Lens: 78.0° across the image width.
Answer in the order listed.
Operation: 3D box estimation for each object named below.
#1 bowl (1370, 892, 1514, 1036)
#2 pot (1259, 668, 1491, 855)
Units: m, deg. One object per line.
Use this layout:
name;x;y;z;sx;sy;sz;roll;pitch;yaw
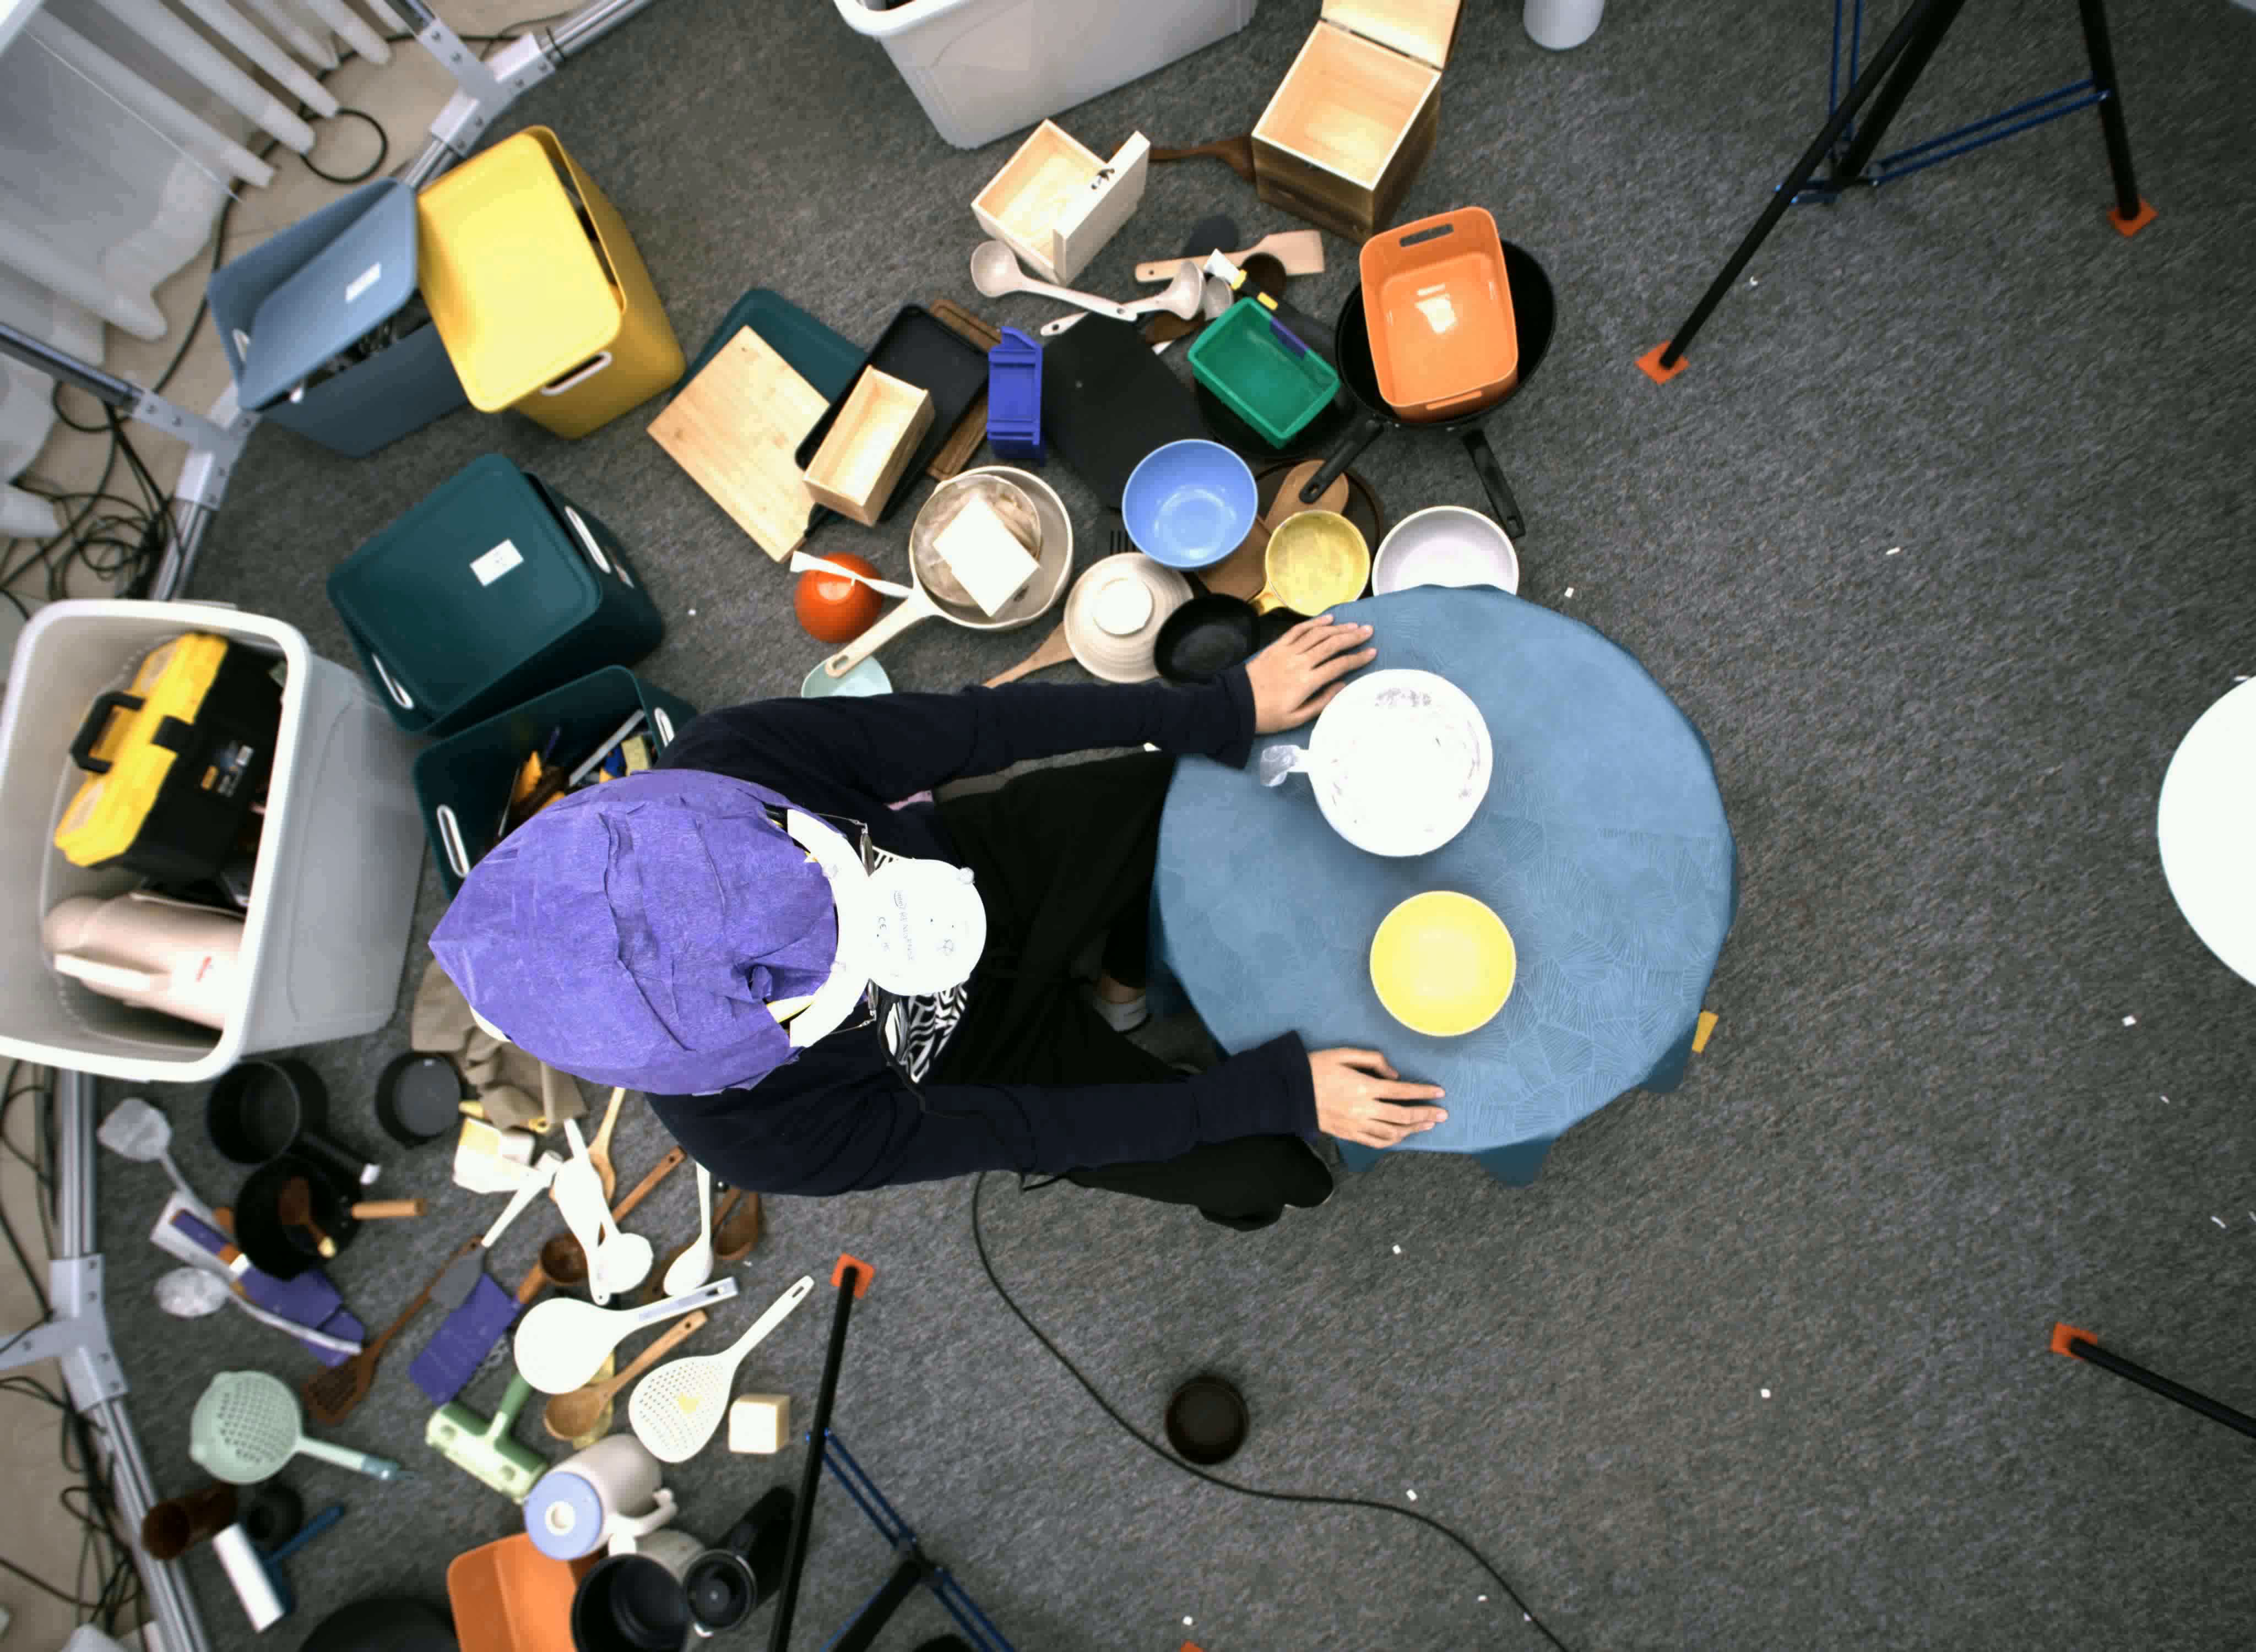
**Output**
bowl;0.320;0.140;1.415;0.146;0.060;0.144;-1;85;9
pot;0.247;-0.062;1.404;0.234;0.136;0.178;1;86;12
